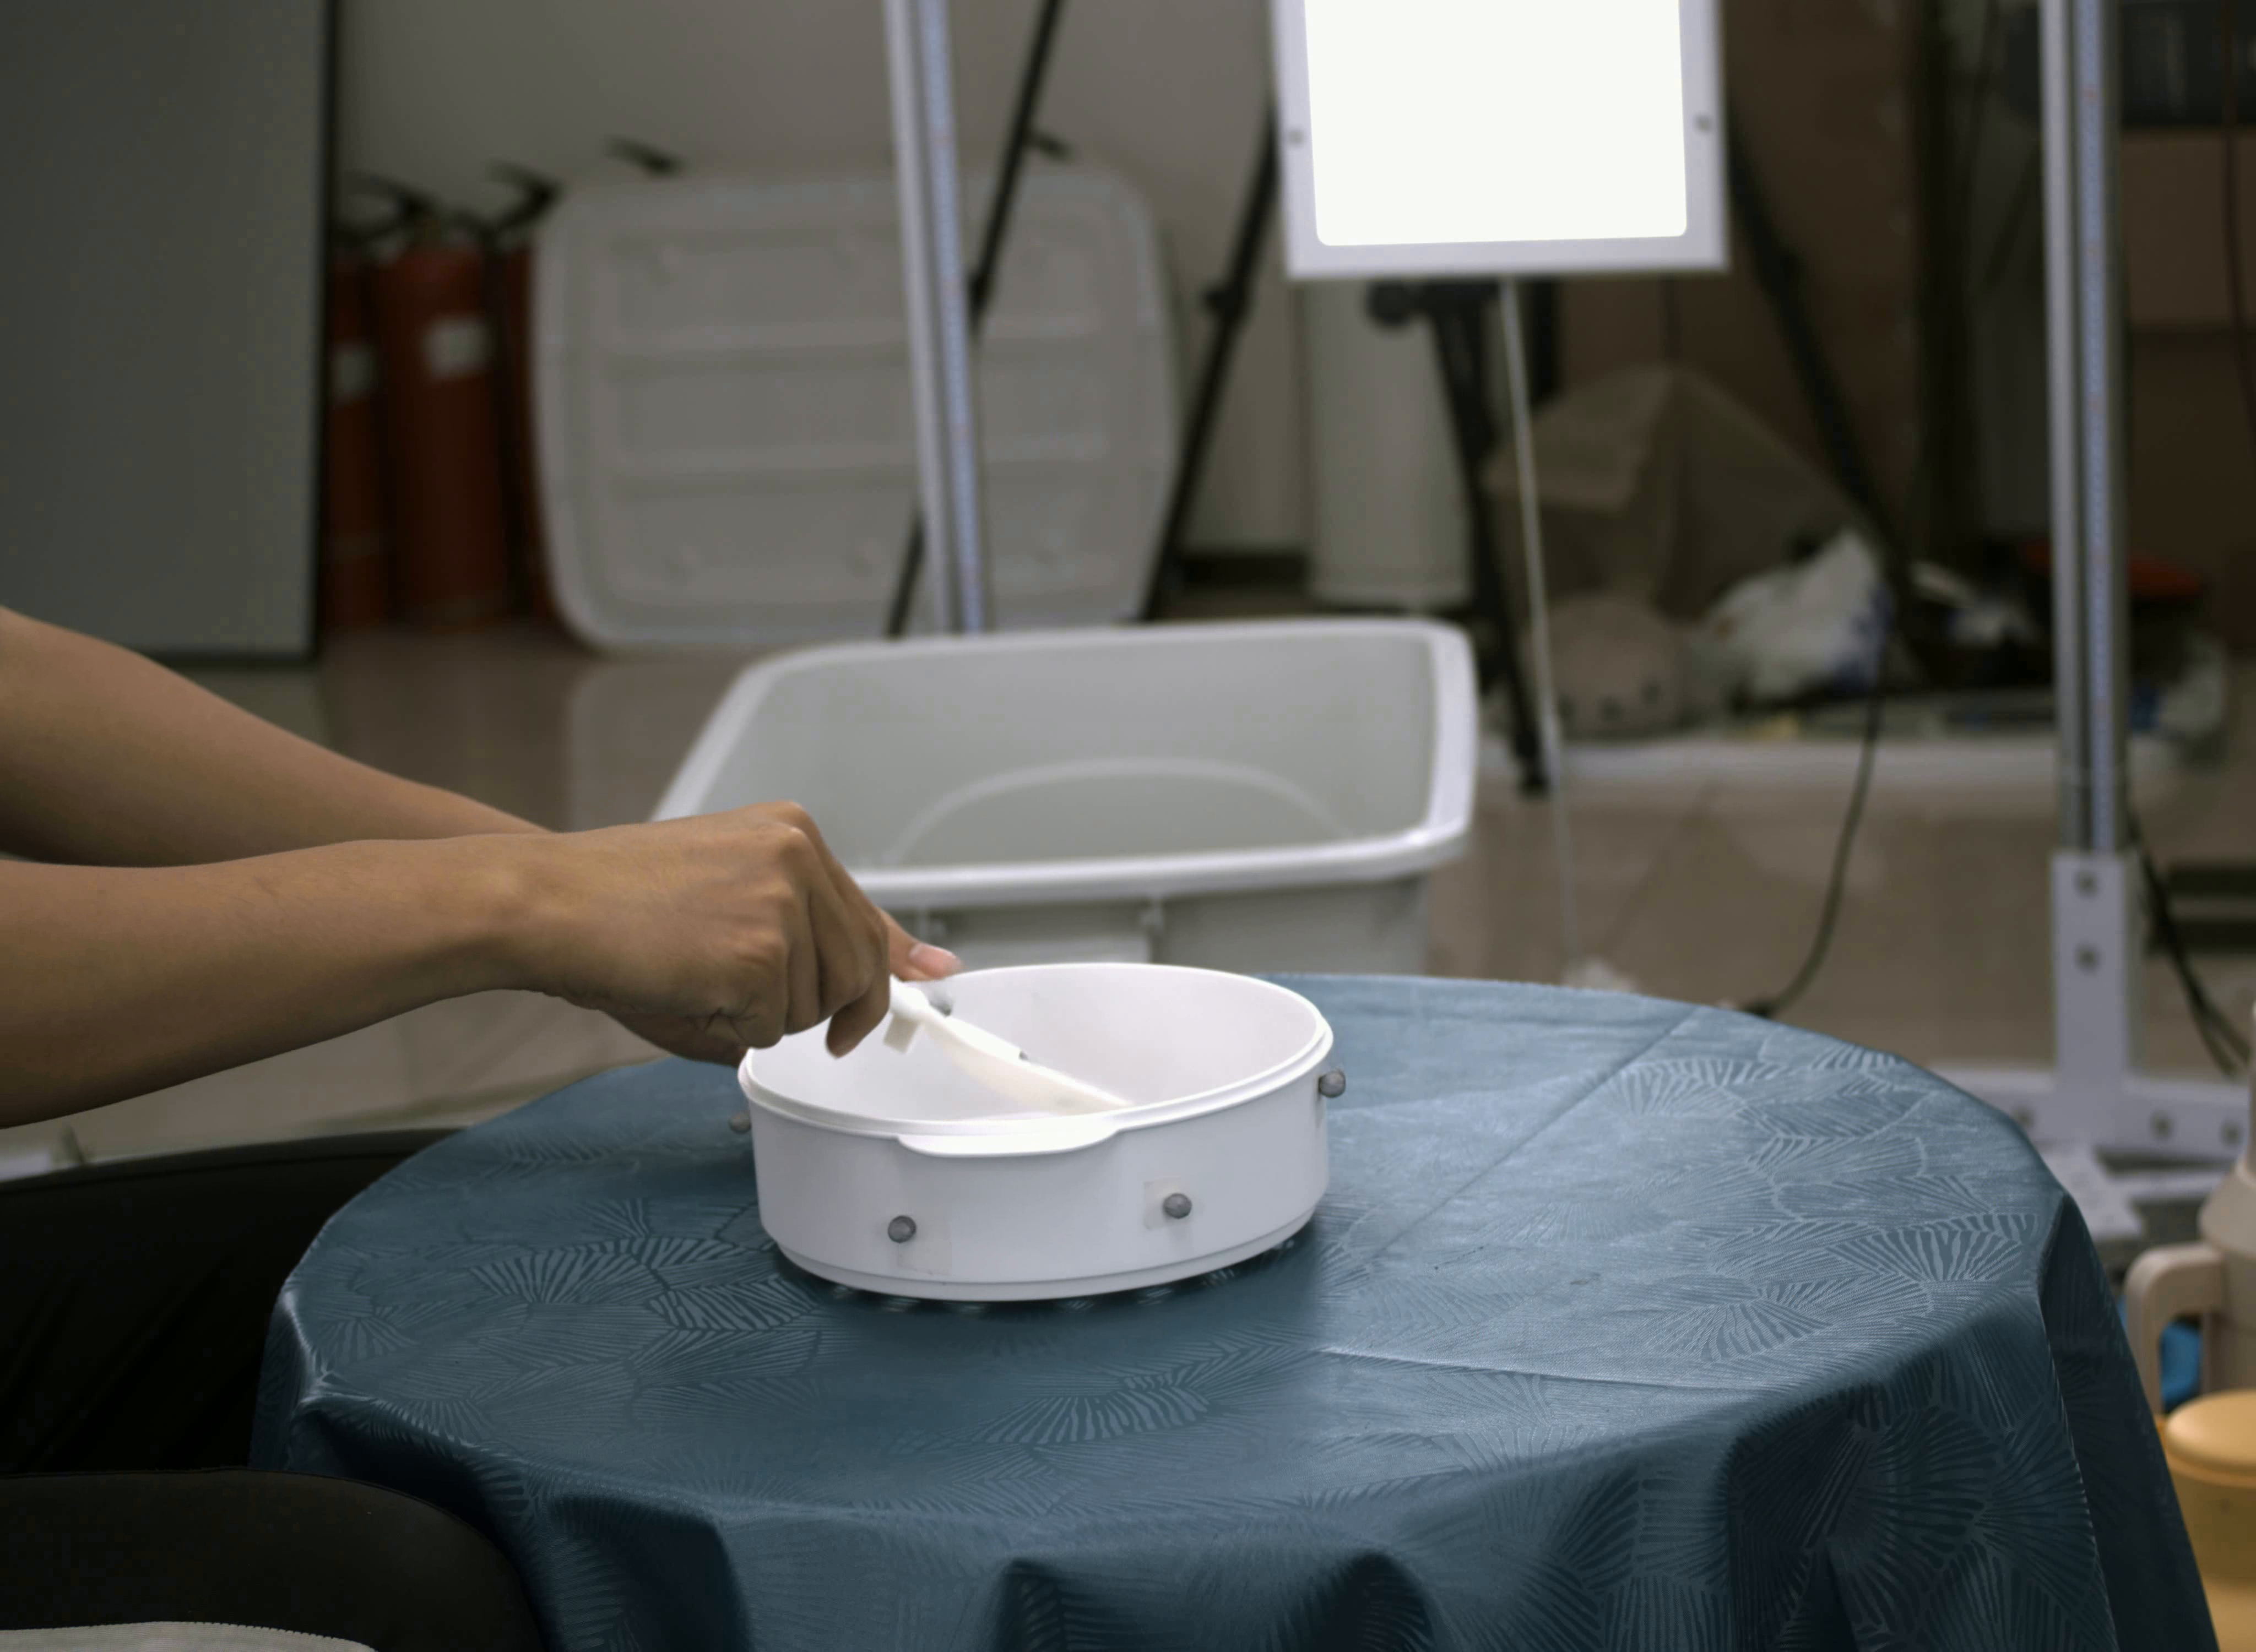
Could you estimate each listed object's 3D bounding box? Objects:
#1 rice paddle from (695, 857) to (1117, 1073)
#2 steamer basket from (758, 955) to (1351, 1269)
[{"bbox_3d":[-0.064,0.053,1.832,0.070,0.029,0.201,27,1,44],"label":"rice paddle"},{"bbox_3d":[-0.023,0.097,1.869,0.202,0.069,0.229,-3,11,7],"label":"steamer basket"}]
